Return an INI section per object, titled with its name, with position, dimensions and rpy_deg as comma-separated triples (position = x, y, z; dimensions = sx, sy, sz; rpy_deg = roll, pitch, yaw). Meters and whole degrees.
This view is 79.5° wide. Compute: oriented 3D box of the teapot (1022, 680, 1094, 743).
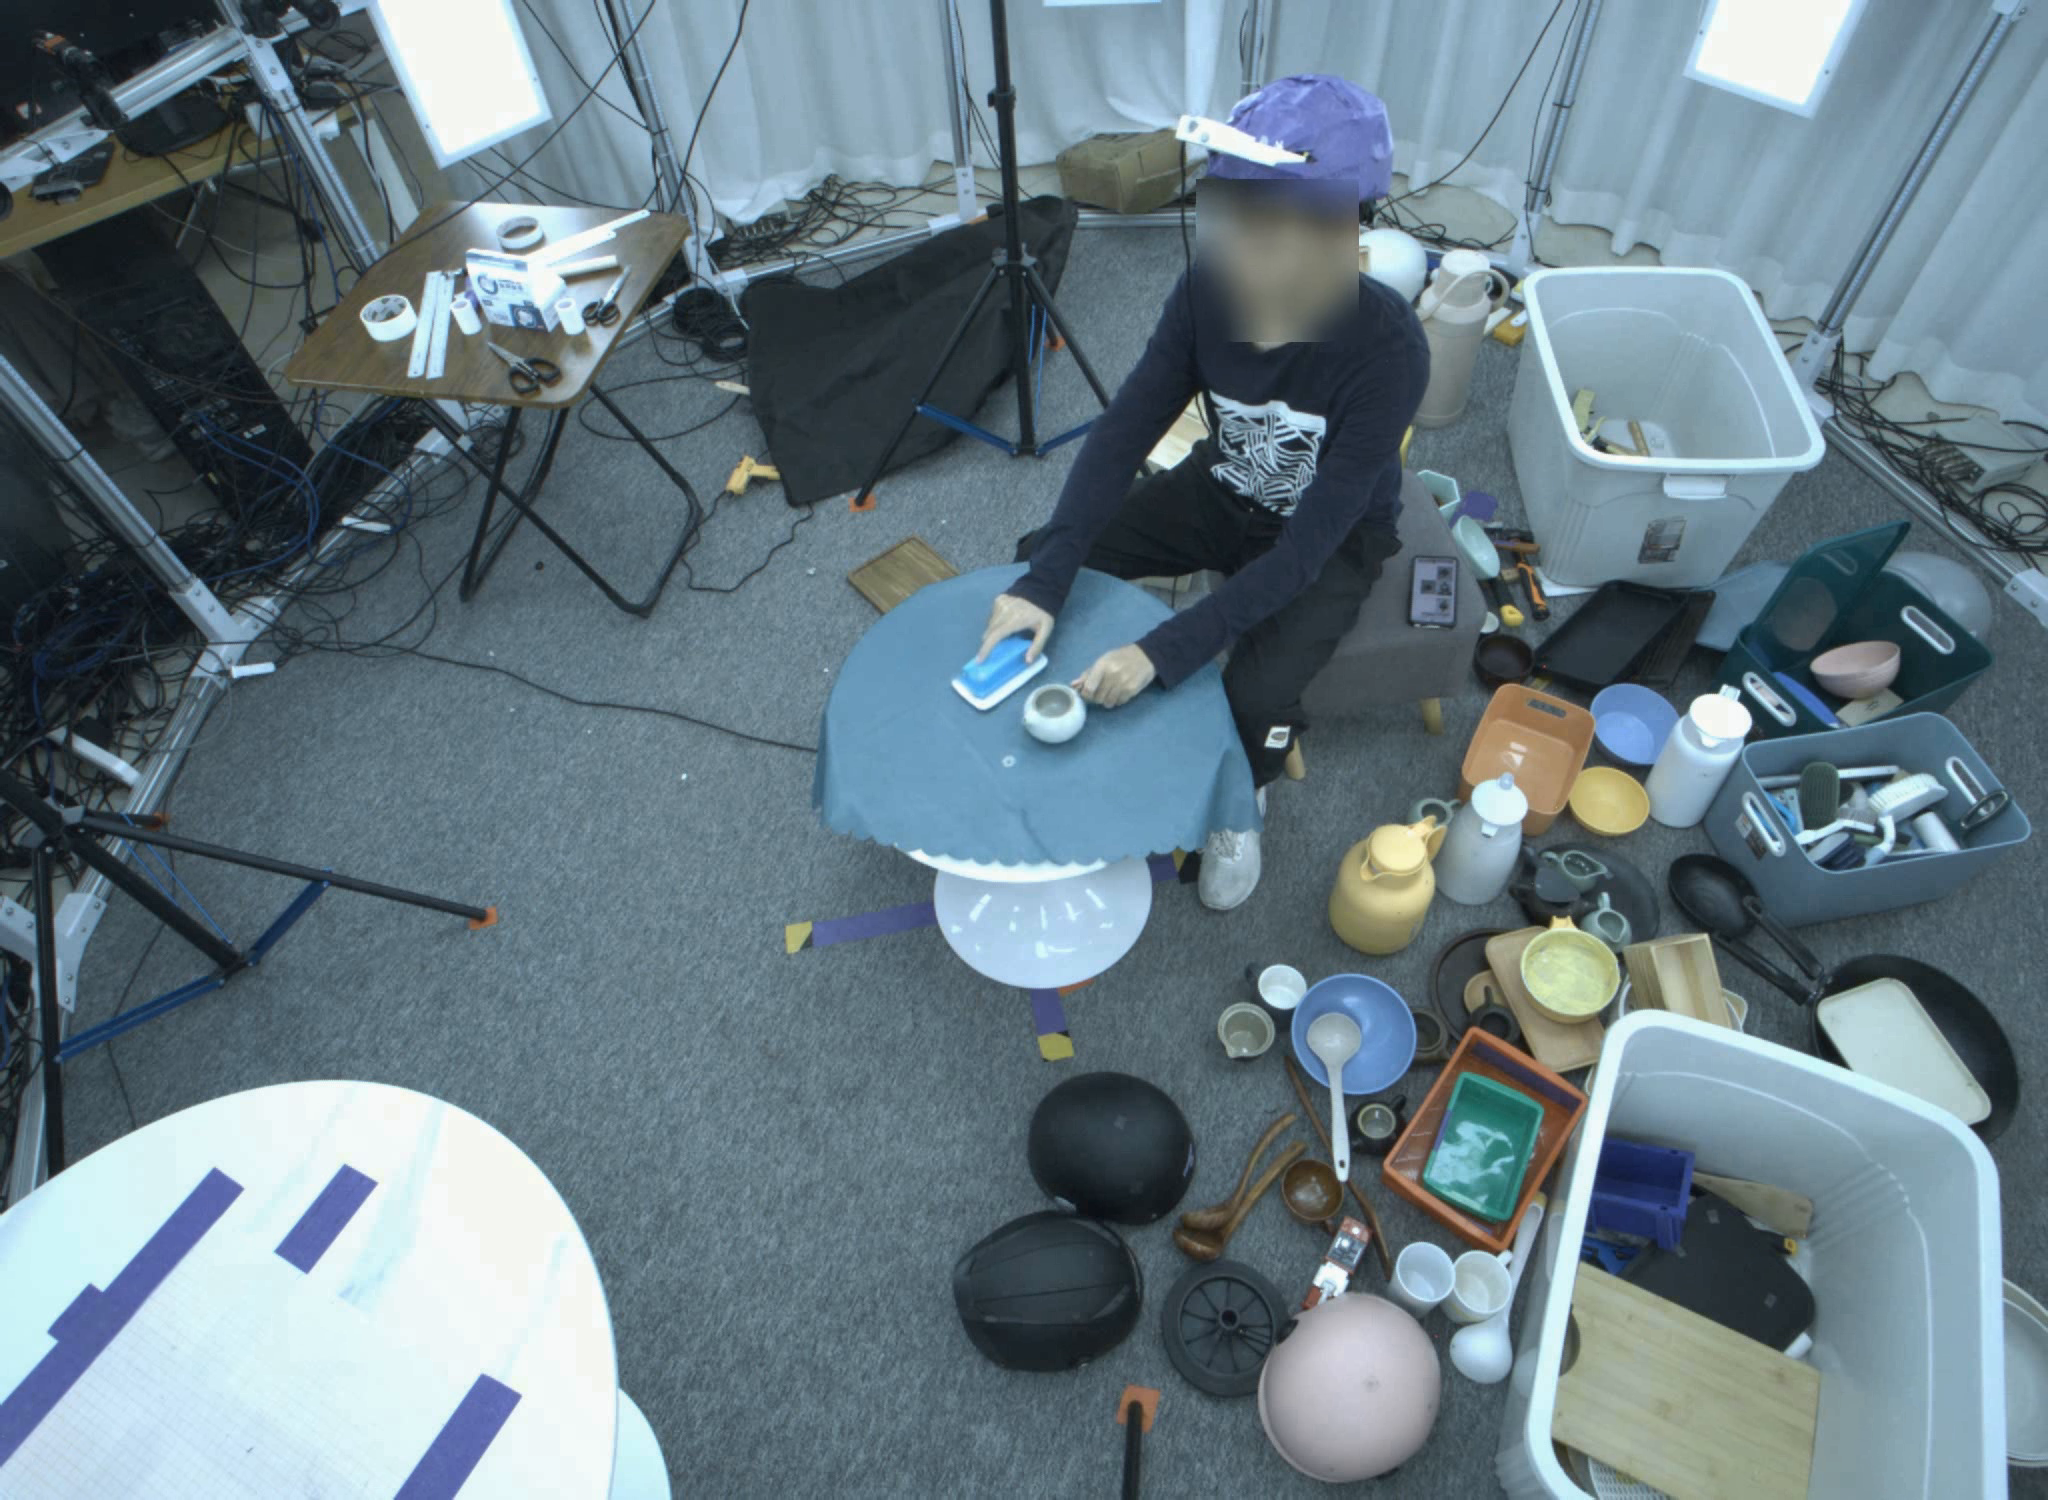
[teapot]
position = 0.051, -0.058, 1.782
dimensions = 0.129, 0.060, 0.090
rpy_deg = -35, 57, -19

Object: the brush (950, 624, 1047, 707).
[brush]
position = -0.039, -0.133, 1.834
dimensions = 0.144, 0.056, 0.082
rpy_deg = -41, 68, -17
